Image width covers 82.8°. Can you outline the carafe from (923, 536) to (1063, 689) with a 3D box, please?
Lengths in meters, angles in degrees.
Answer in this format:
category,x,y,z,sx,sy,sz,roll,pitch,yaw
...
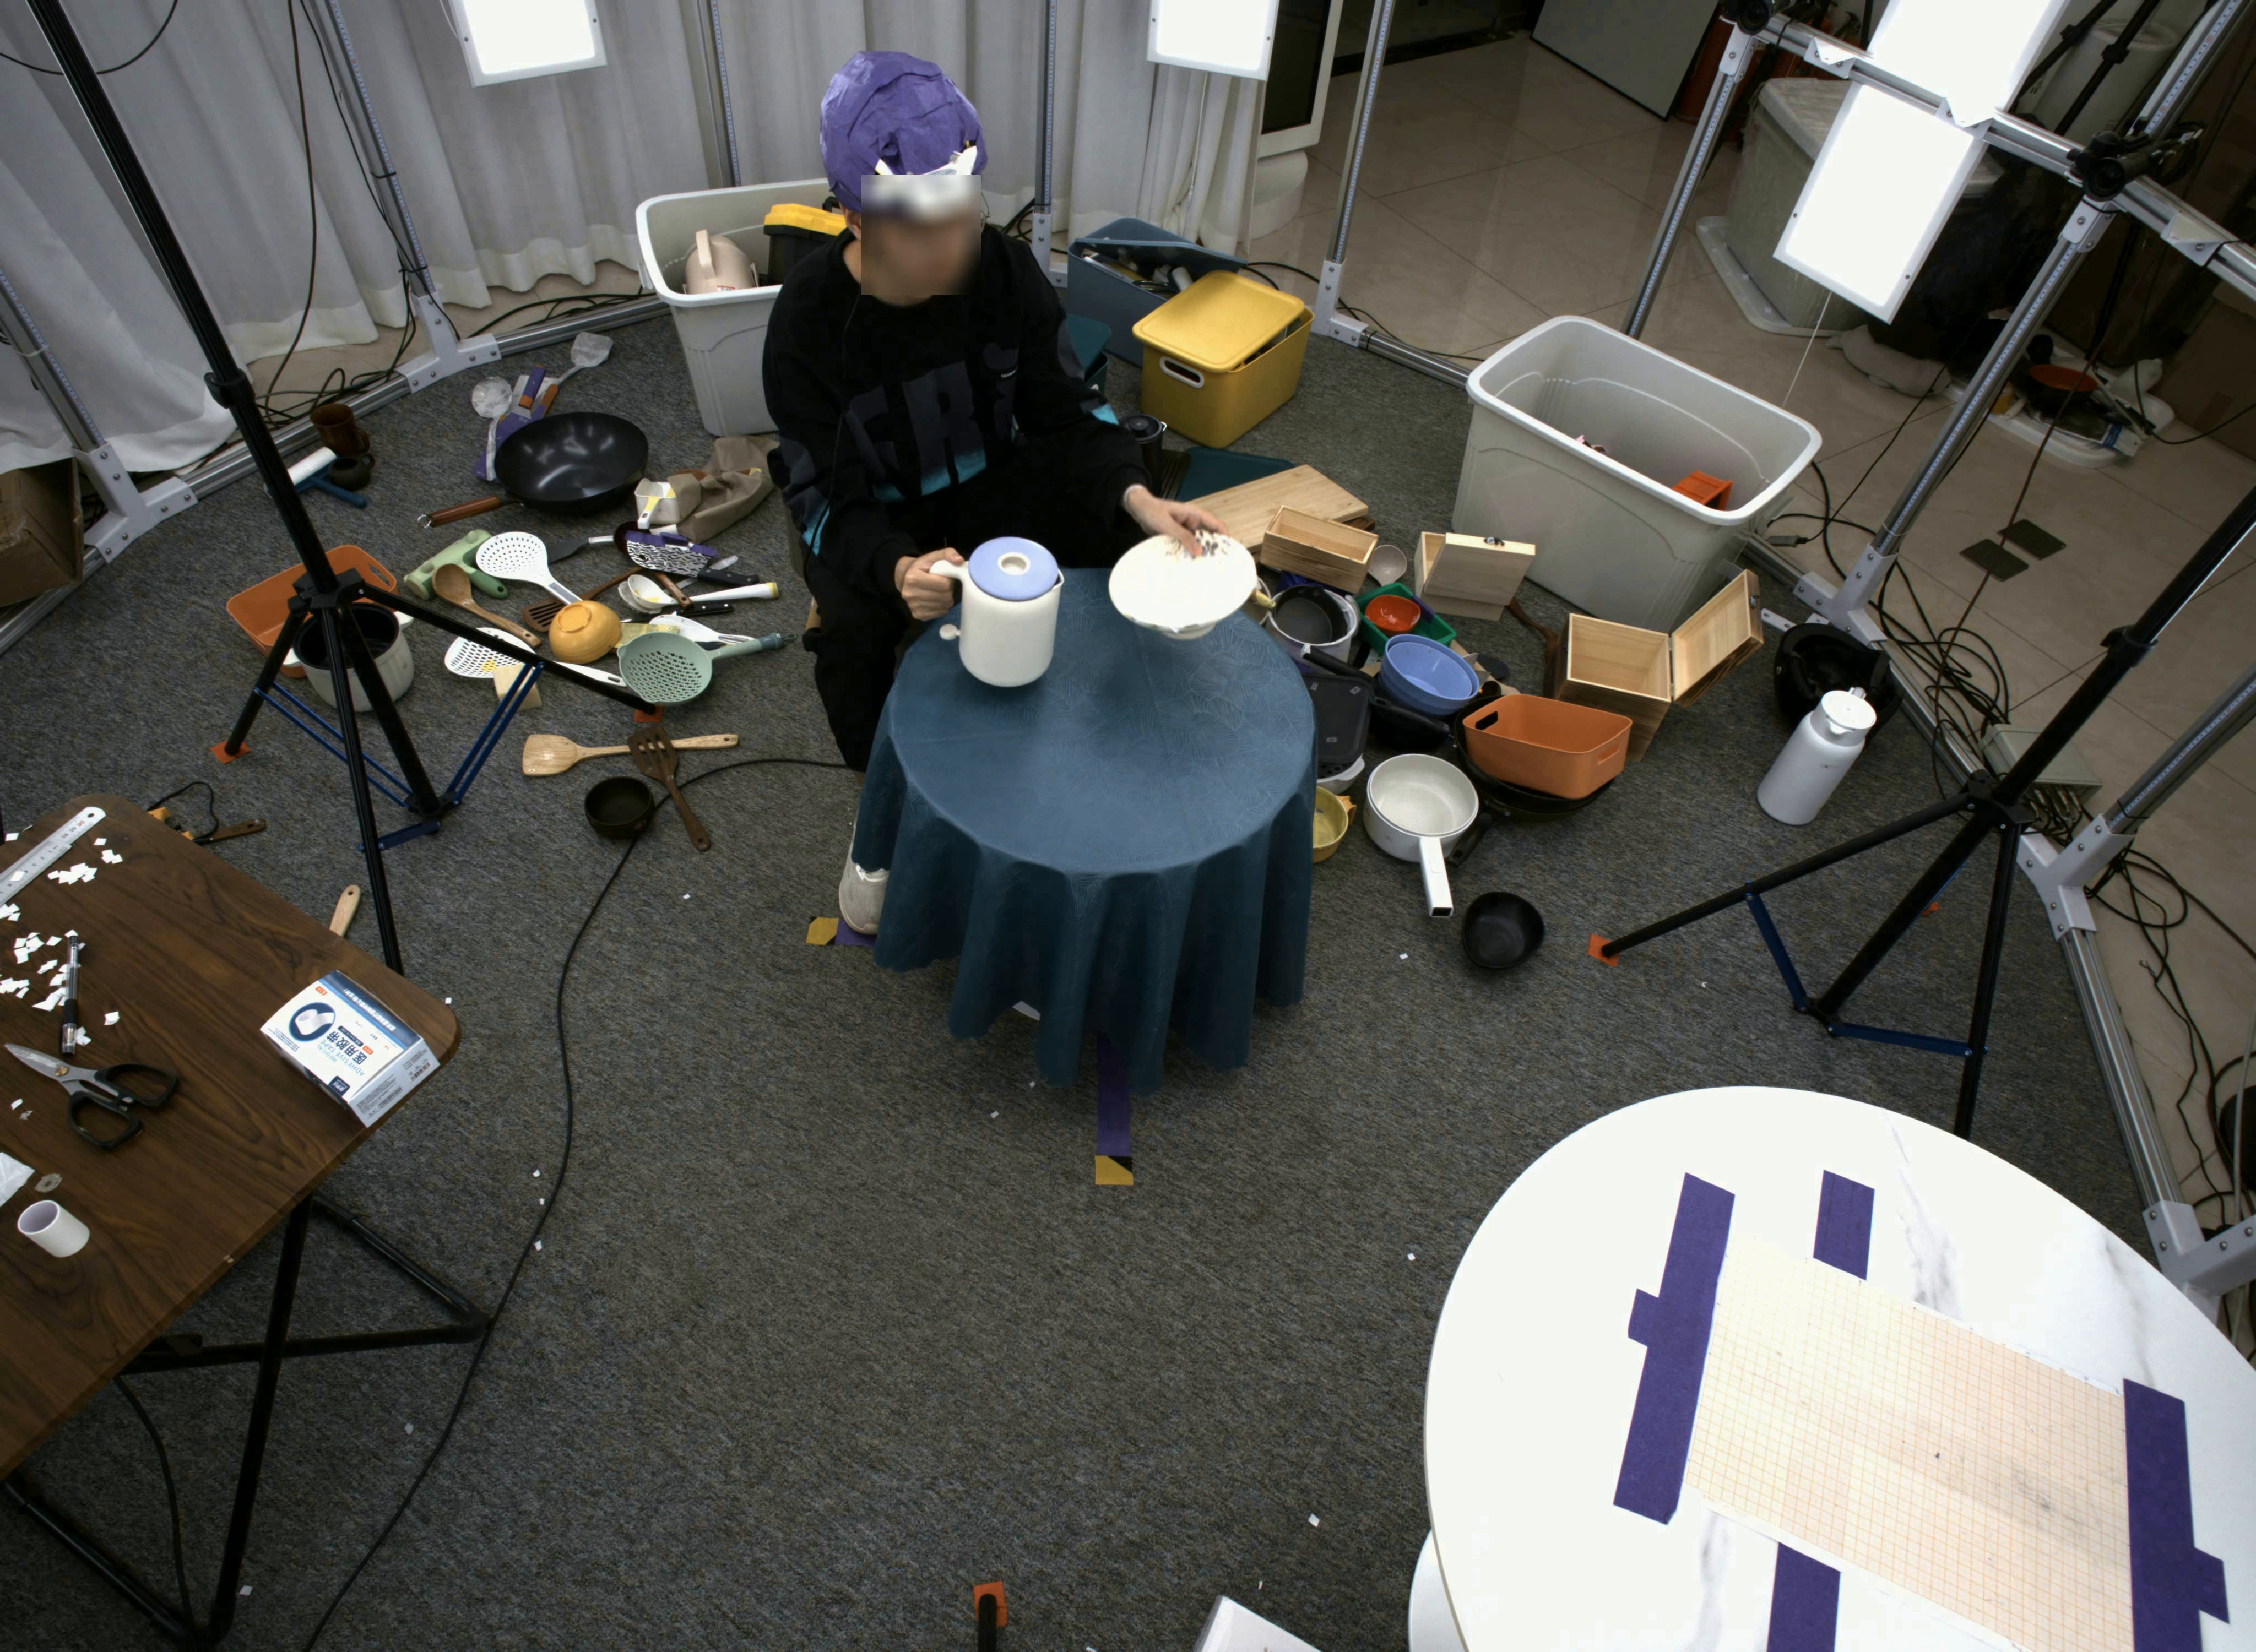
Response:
category,x,y,z,sx,sy,sz,roll,pitch,yaw
carafe,-0.185,-0.294,1.750,0.191,0.178,0.135,10,51,3

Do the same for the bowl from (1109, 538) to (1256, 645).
category,x,y,z,sx,sy,sz,roll,pitch,yaw
bowl,0.079,-0.310,1.788,0.204,0.076,0.209,-6,46,6
